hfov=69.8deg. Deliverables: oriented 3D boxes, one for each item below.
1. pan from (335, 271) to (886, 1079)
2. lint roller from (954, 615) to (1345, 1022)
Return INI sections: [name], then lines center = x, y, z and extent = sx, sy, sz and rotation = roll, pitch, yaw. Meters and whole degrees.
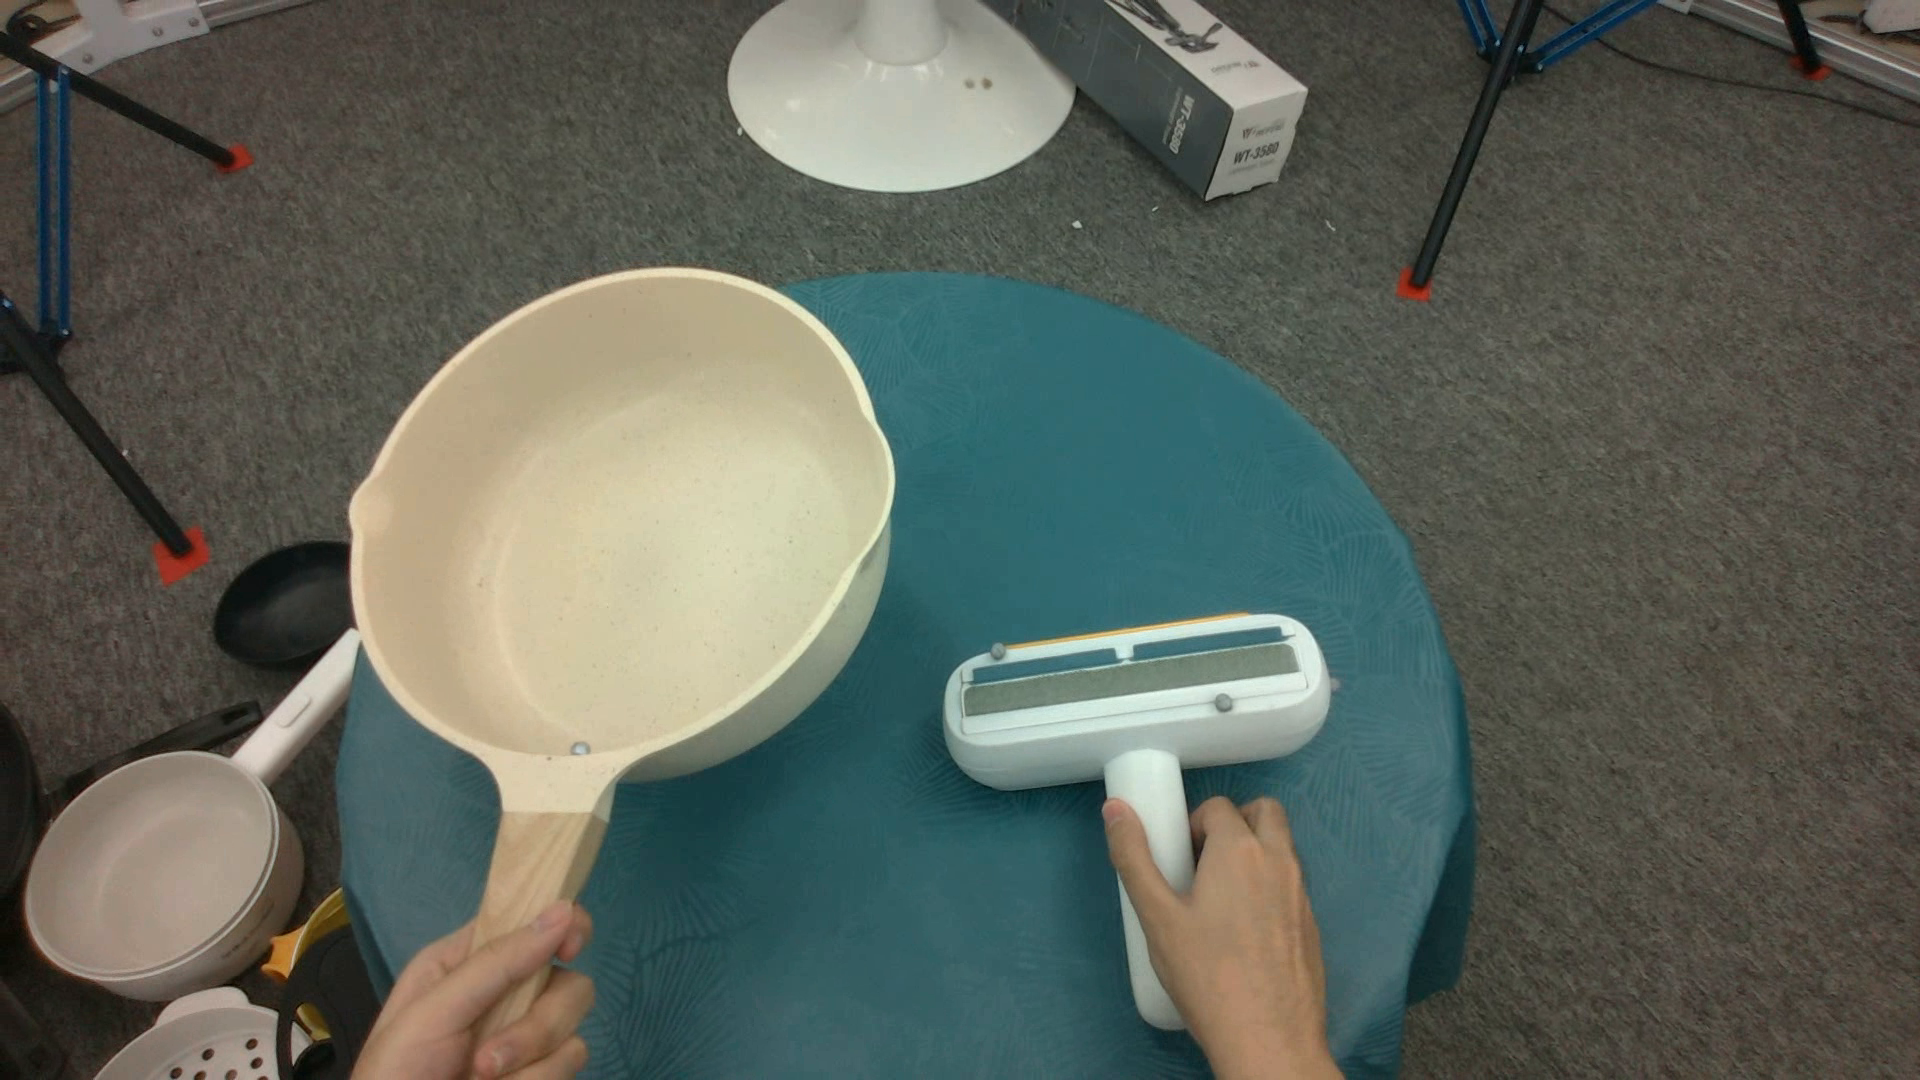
[pan]
center = -0.164, 0.076, 0.616
extent = 0.263, 0.101, 0.436
rotation = -1, 63, 8
[lint roller]
center = 0.092, 0.128, 0.664
extent = 0.193, 0.074, 0.193
rotation = -3, 53, 5
